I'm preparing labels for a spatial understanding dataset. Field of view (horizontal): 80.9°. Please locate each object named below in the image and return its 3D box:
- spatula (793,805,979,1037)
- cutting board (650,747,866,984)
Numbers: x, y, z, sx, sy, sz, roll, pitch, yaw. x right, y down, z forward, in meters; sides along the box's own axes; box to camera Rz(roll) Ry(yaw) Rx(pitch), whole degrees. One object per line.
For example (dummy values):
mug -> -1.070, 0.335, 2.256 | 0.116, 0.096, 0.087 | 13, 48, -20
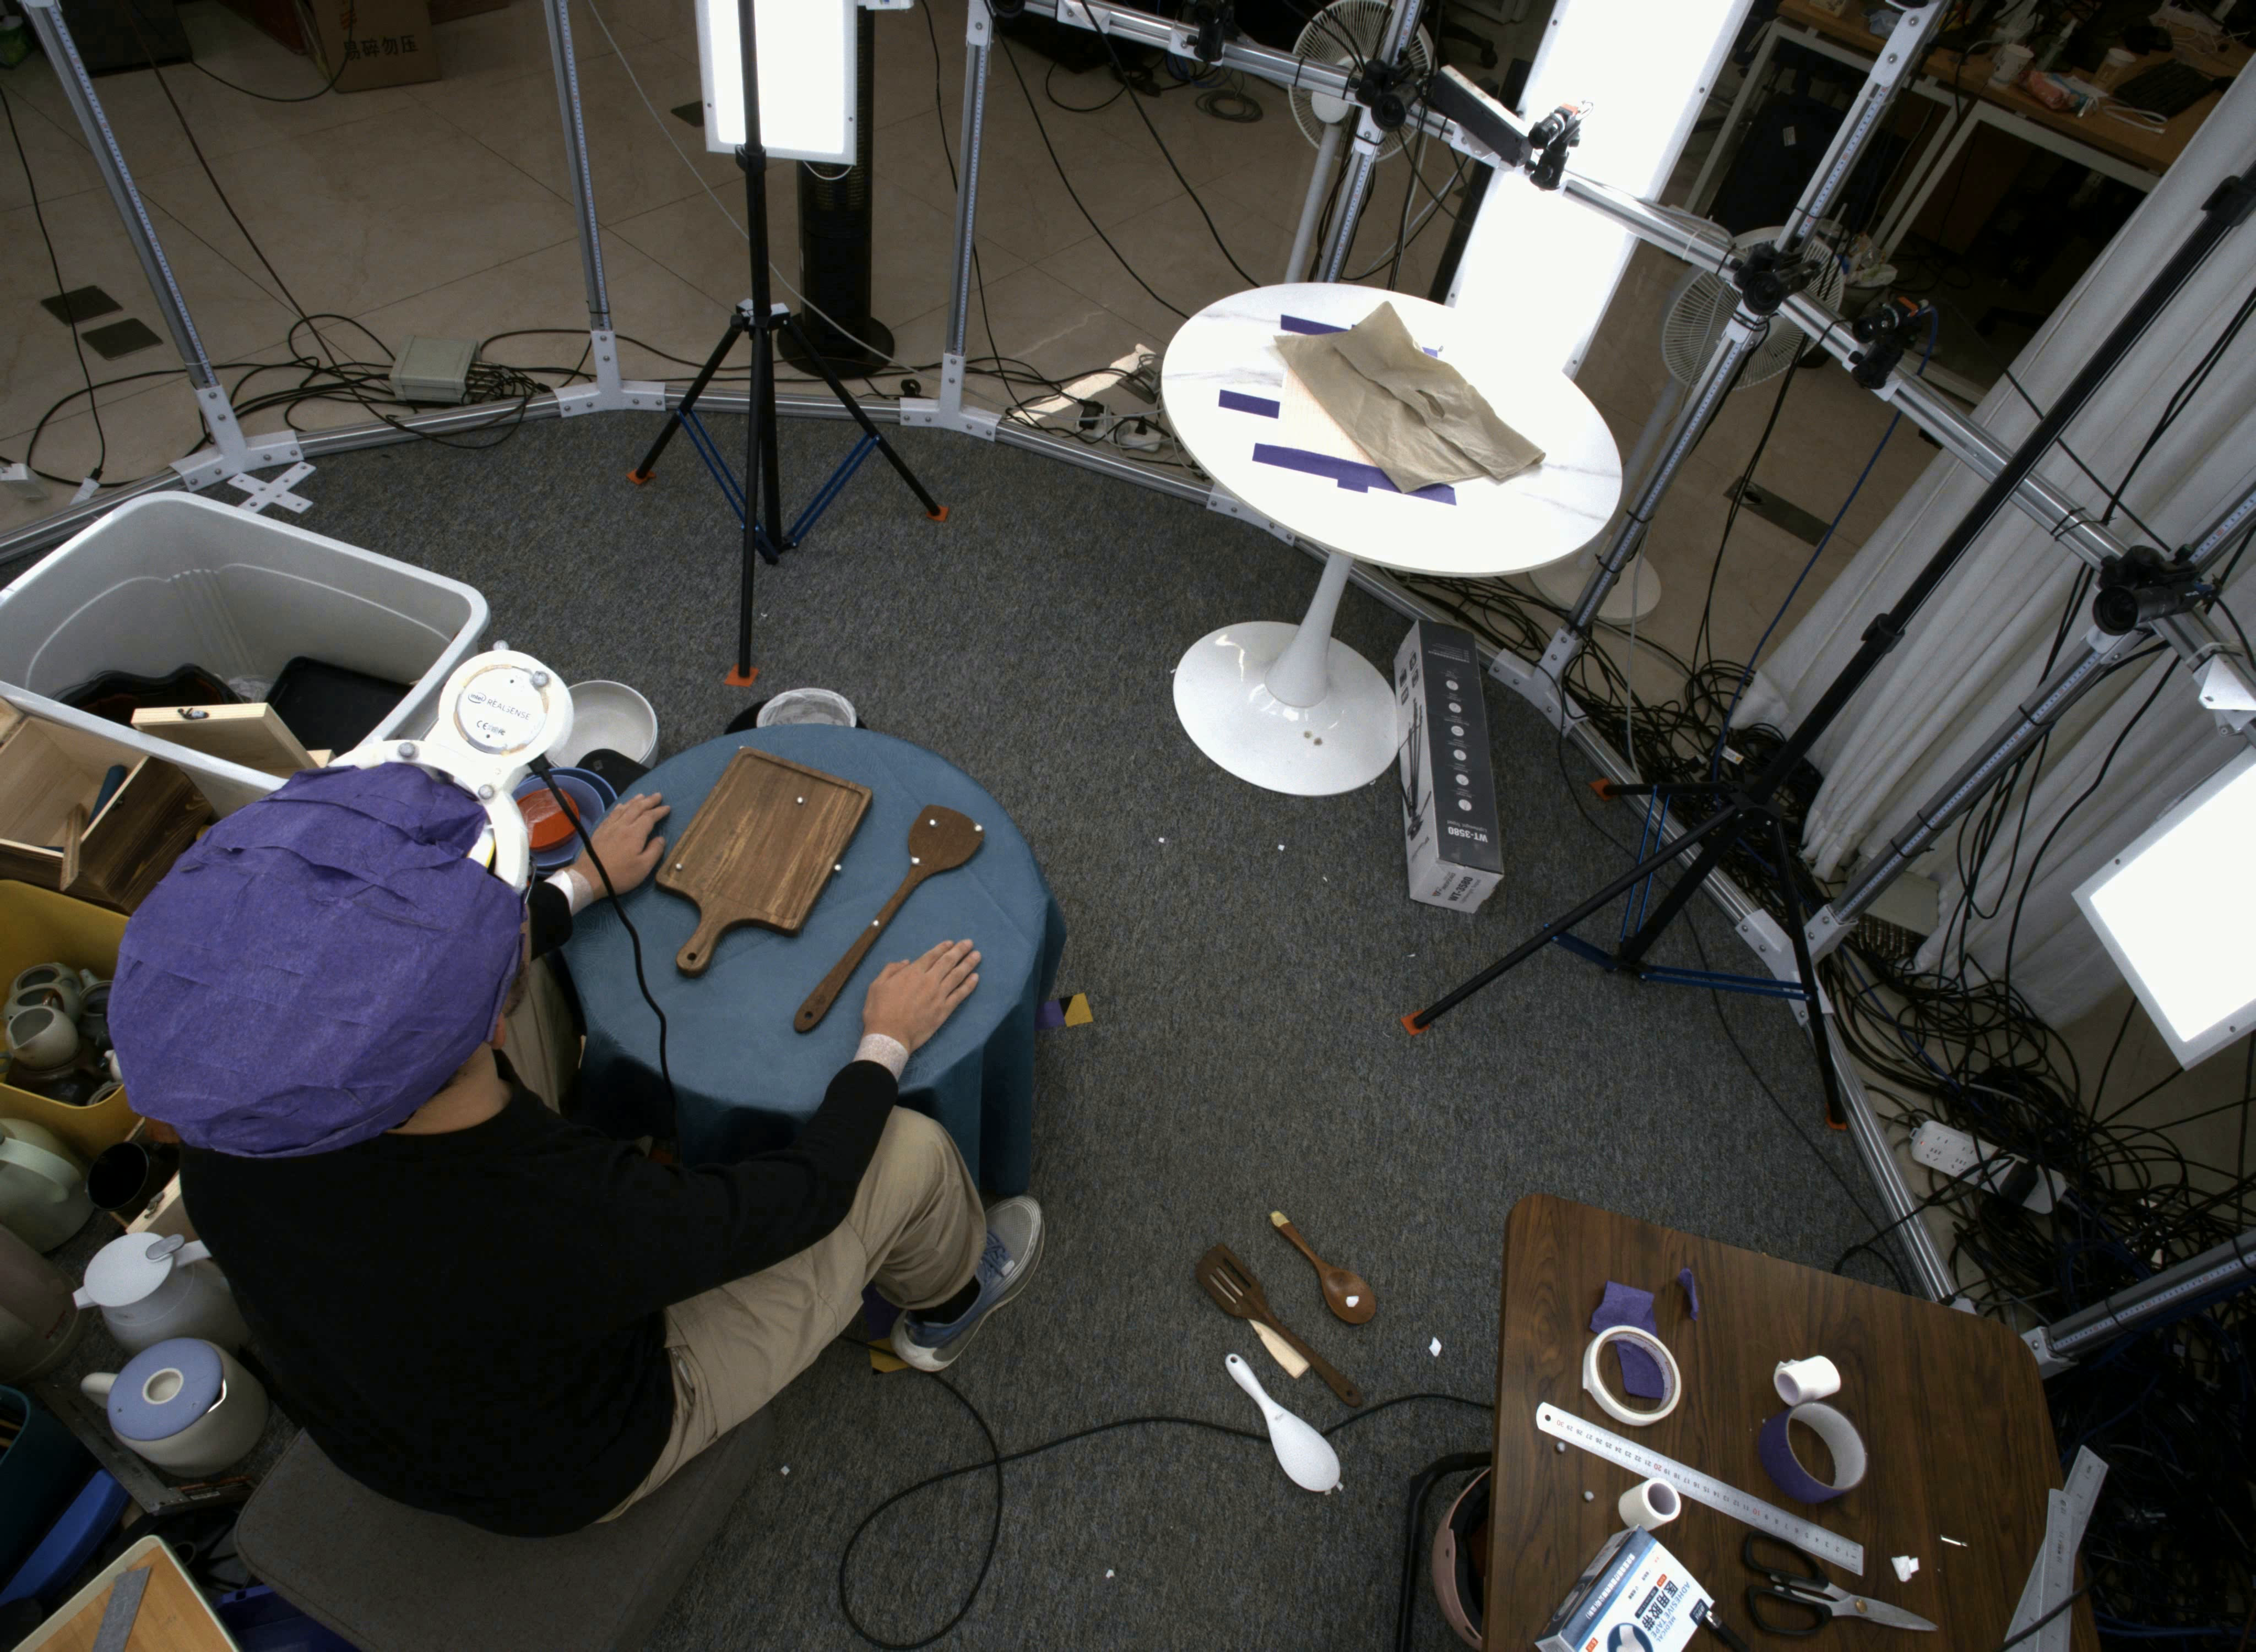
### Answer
spatula -> -0.314, 0.113, 1.653 | 0.095, 0.016, 0.383 | 26, 52, 6
cutting board -> -0.489, 0.051, 1.650 | 0.199, 0.023, 0.348 | 19, 51, 0
